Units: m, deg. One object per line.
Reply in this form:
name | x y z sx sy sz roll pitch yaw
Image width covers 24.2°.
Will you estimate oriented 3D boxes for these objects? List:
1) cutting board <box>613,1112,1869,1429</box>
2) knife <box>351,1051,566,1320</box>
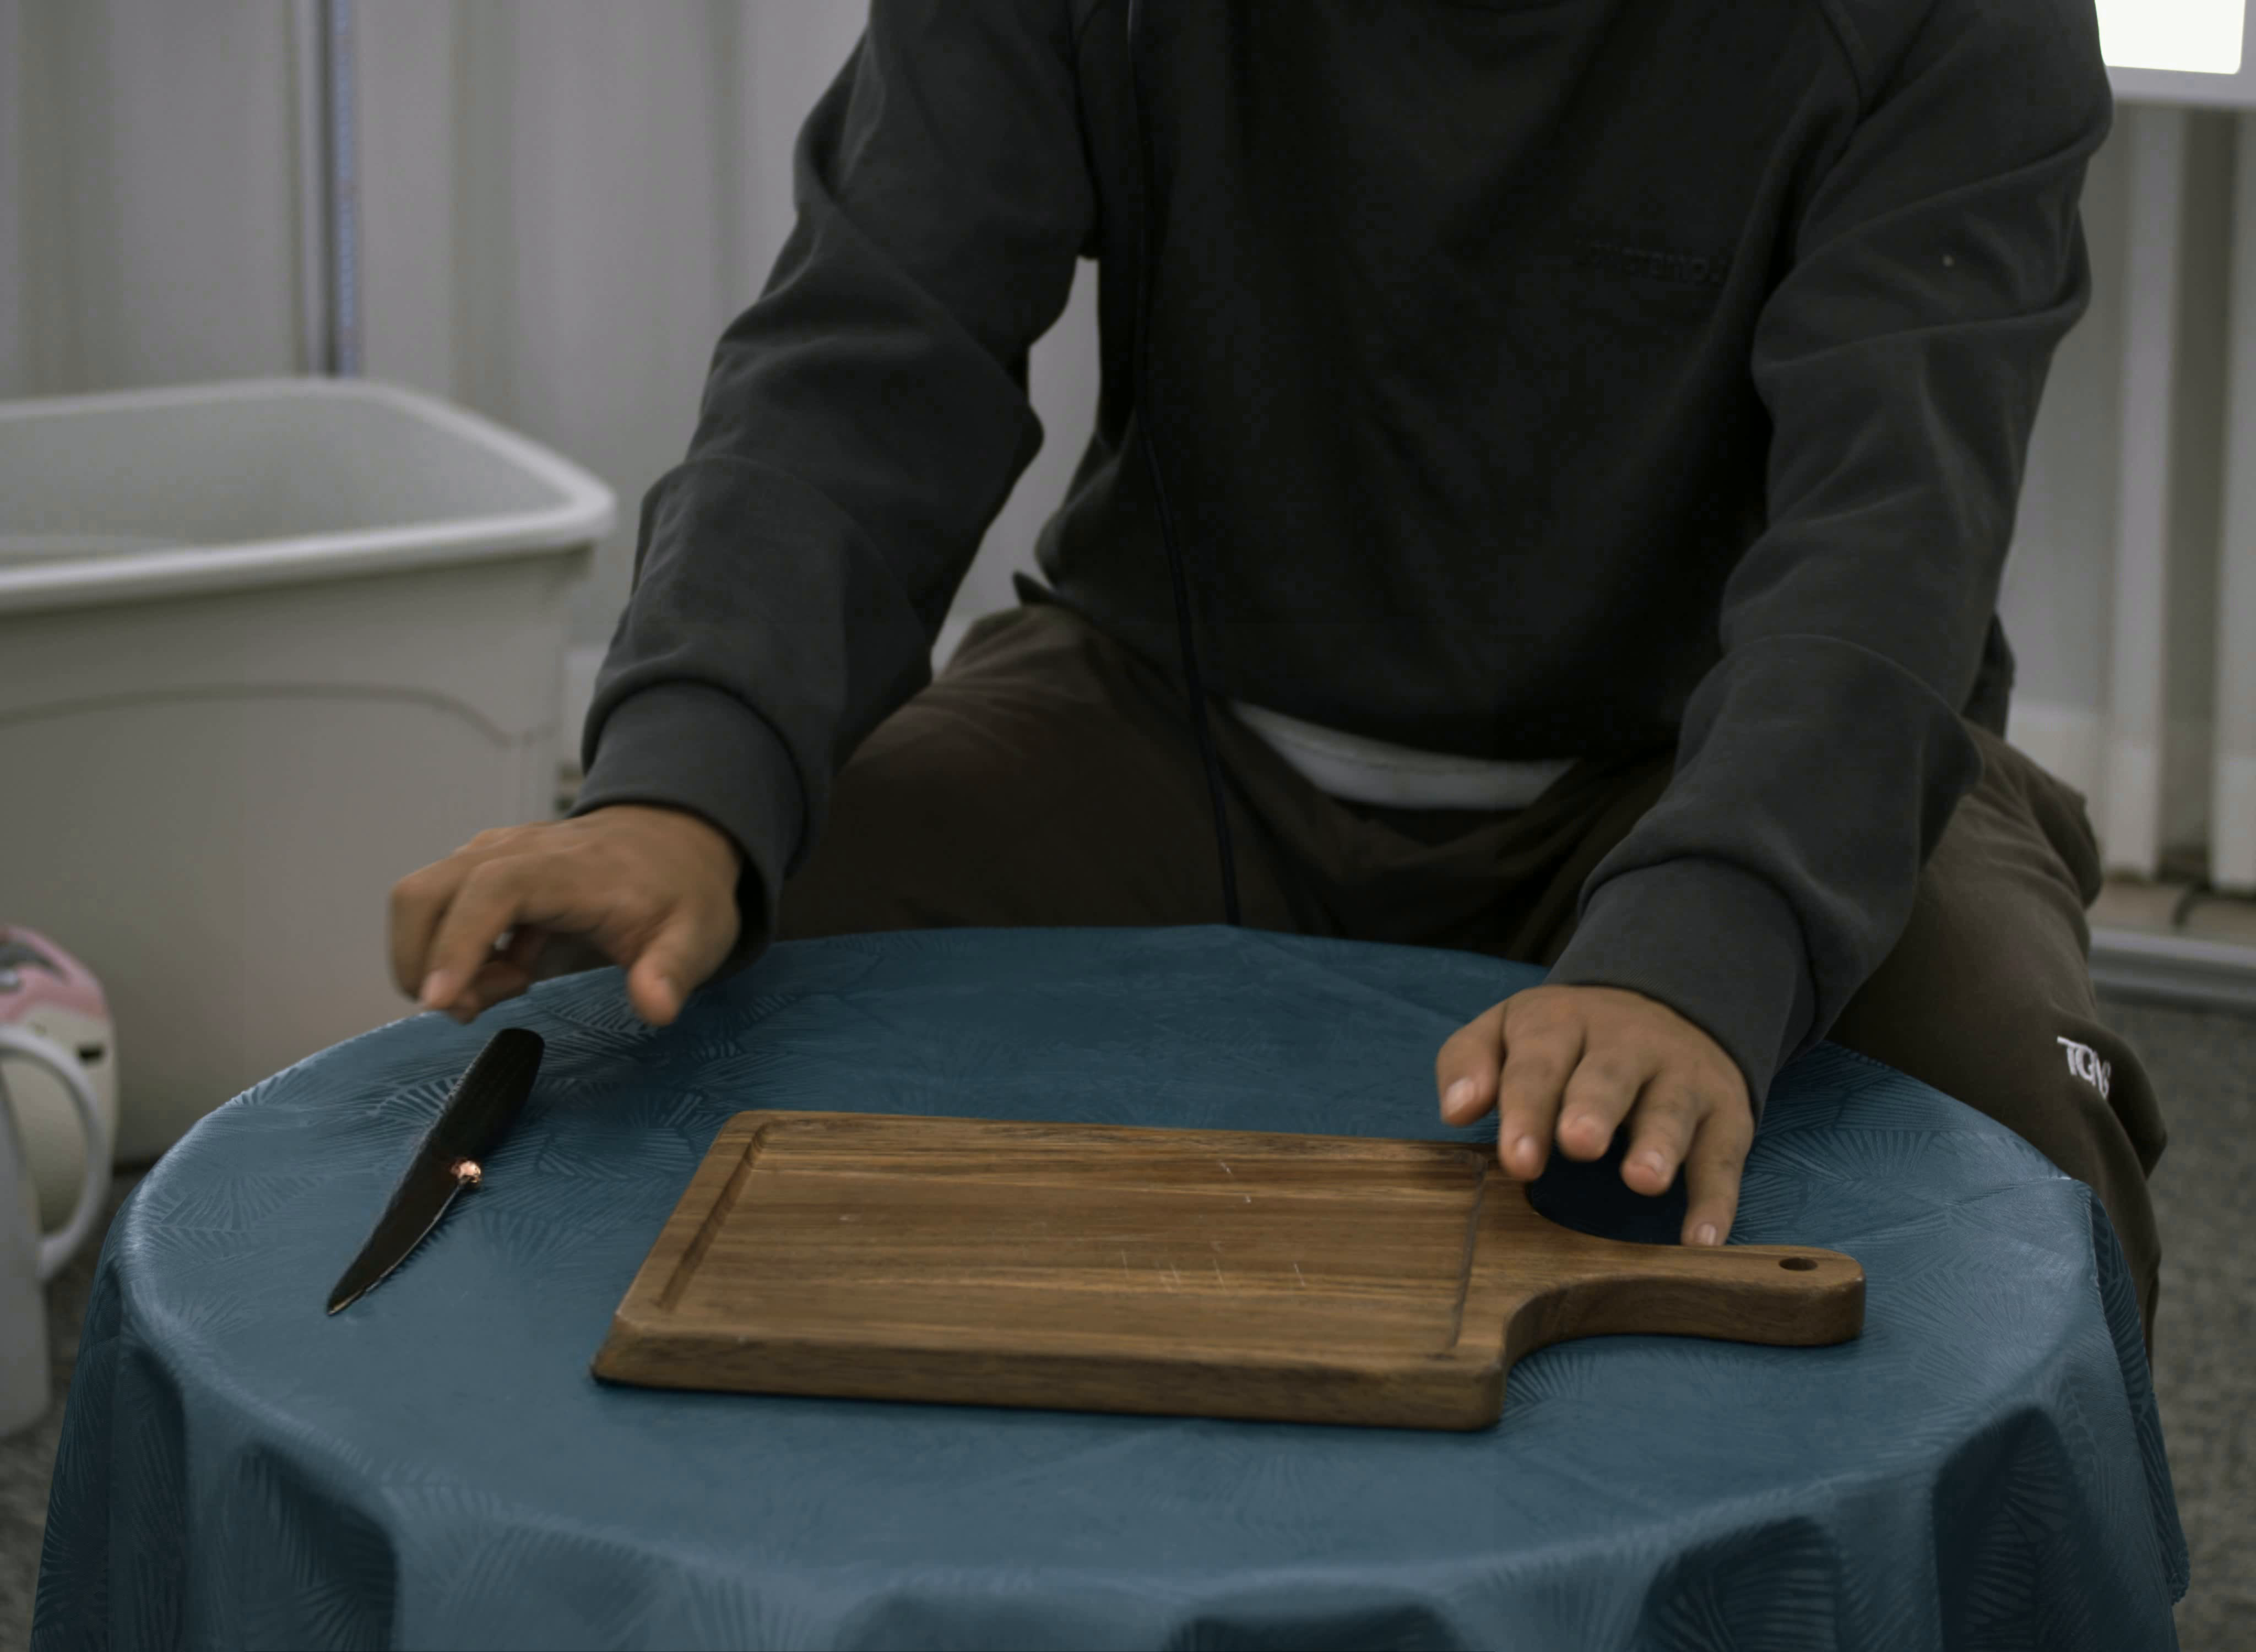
cutting board | 0.039 0.128 1.531 0.350 0.023 0.200 2 16 5
knife | -0.208 0.109 1.611 0.026 0.017 0.225 8 17 7
